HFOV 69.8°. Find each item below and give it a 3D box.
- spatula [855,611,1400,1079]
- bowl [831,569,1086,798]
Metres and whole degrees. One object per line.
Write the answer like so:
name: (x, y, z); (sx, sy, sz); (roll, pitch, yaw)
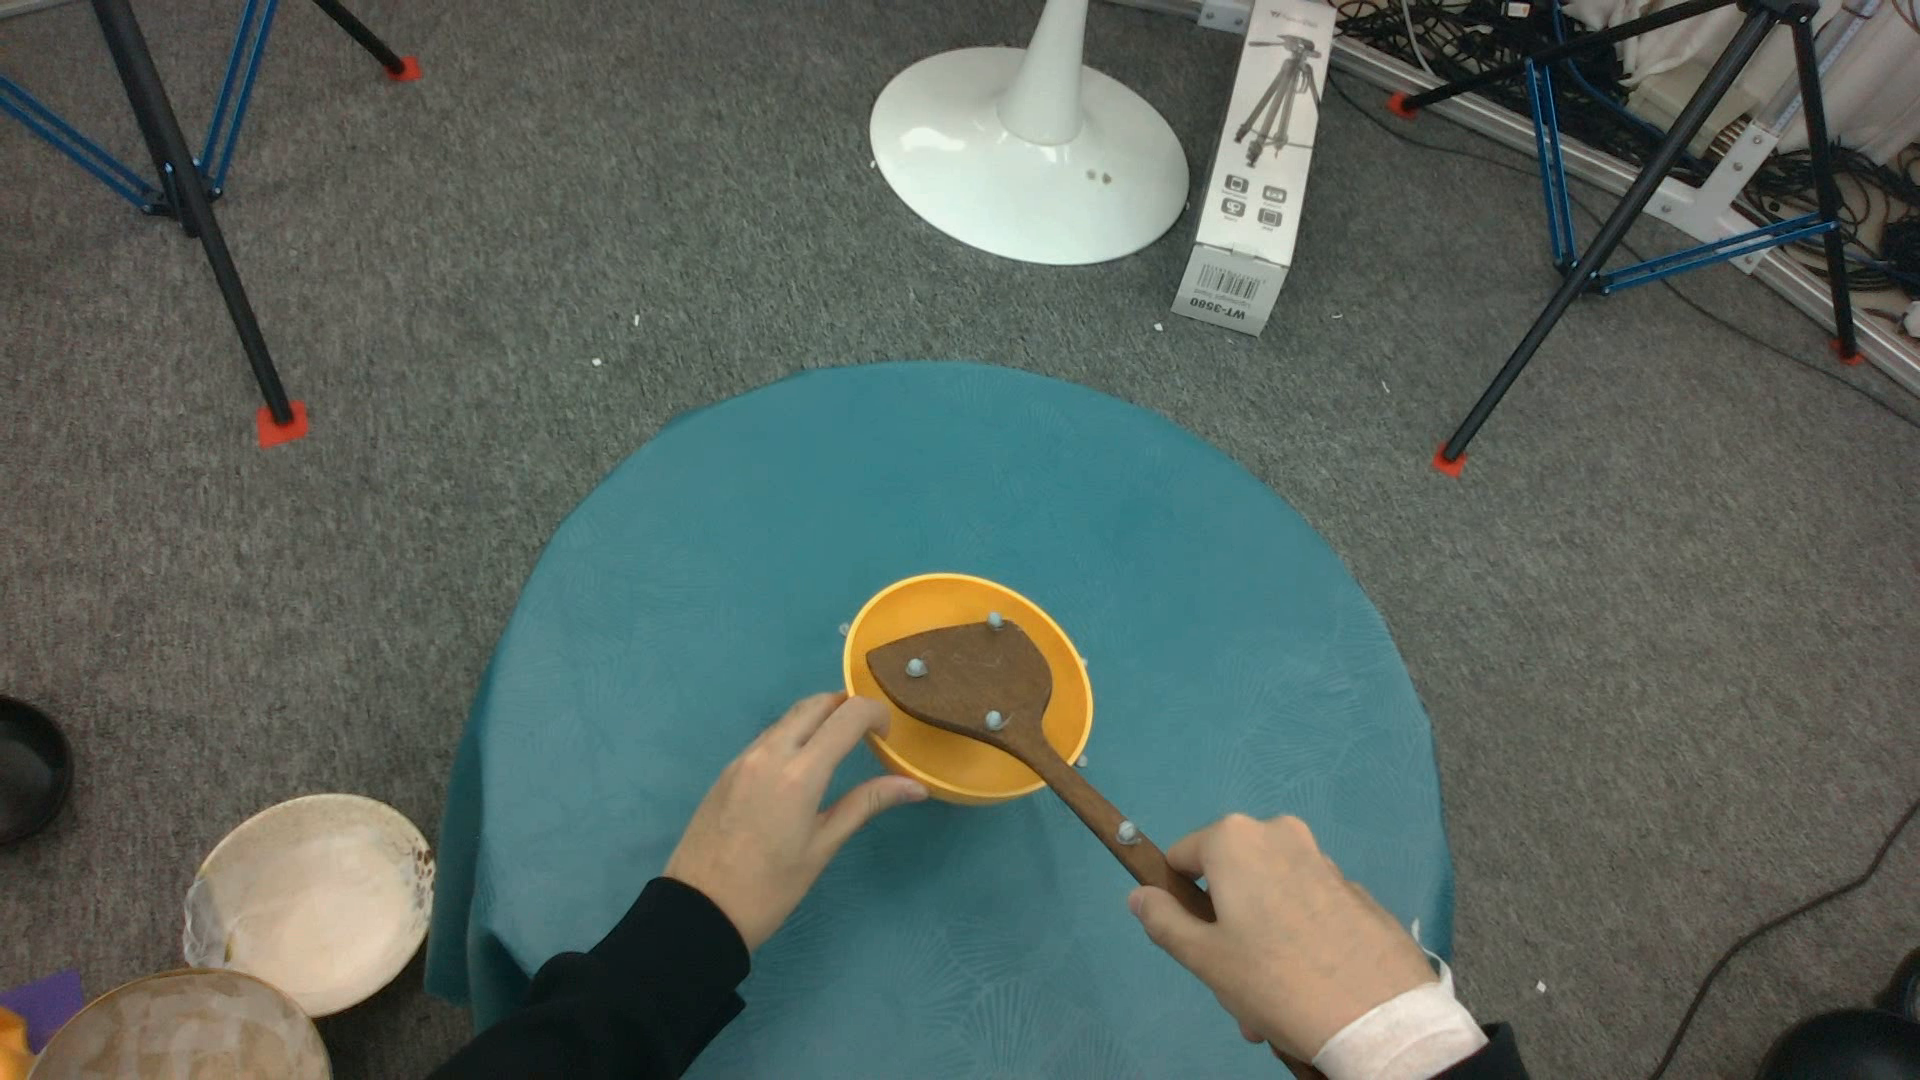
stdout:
spatula: (0.062, 0.122, 0.620); (0.096, 0.016, 0.386); (-11, 27, -24)
bowl: (-0.007, 0.090, 0.778); (0.145, 0.060, 0.146); (10, 49, -12)
